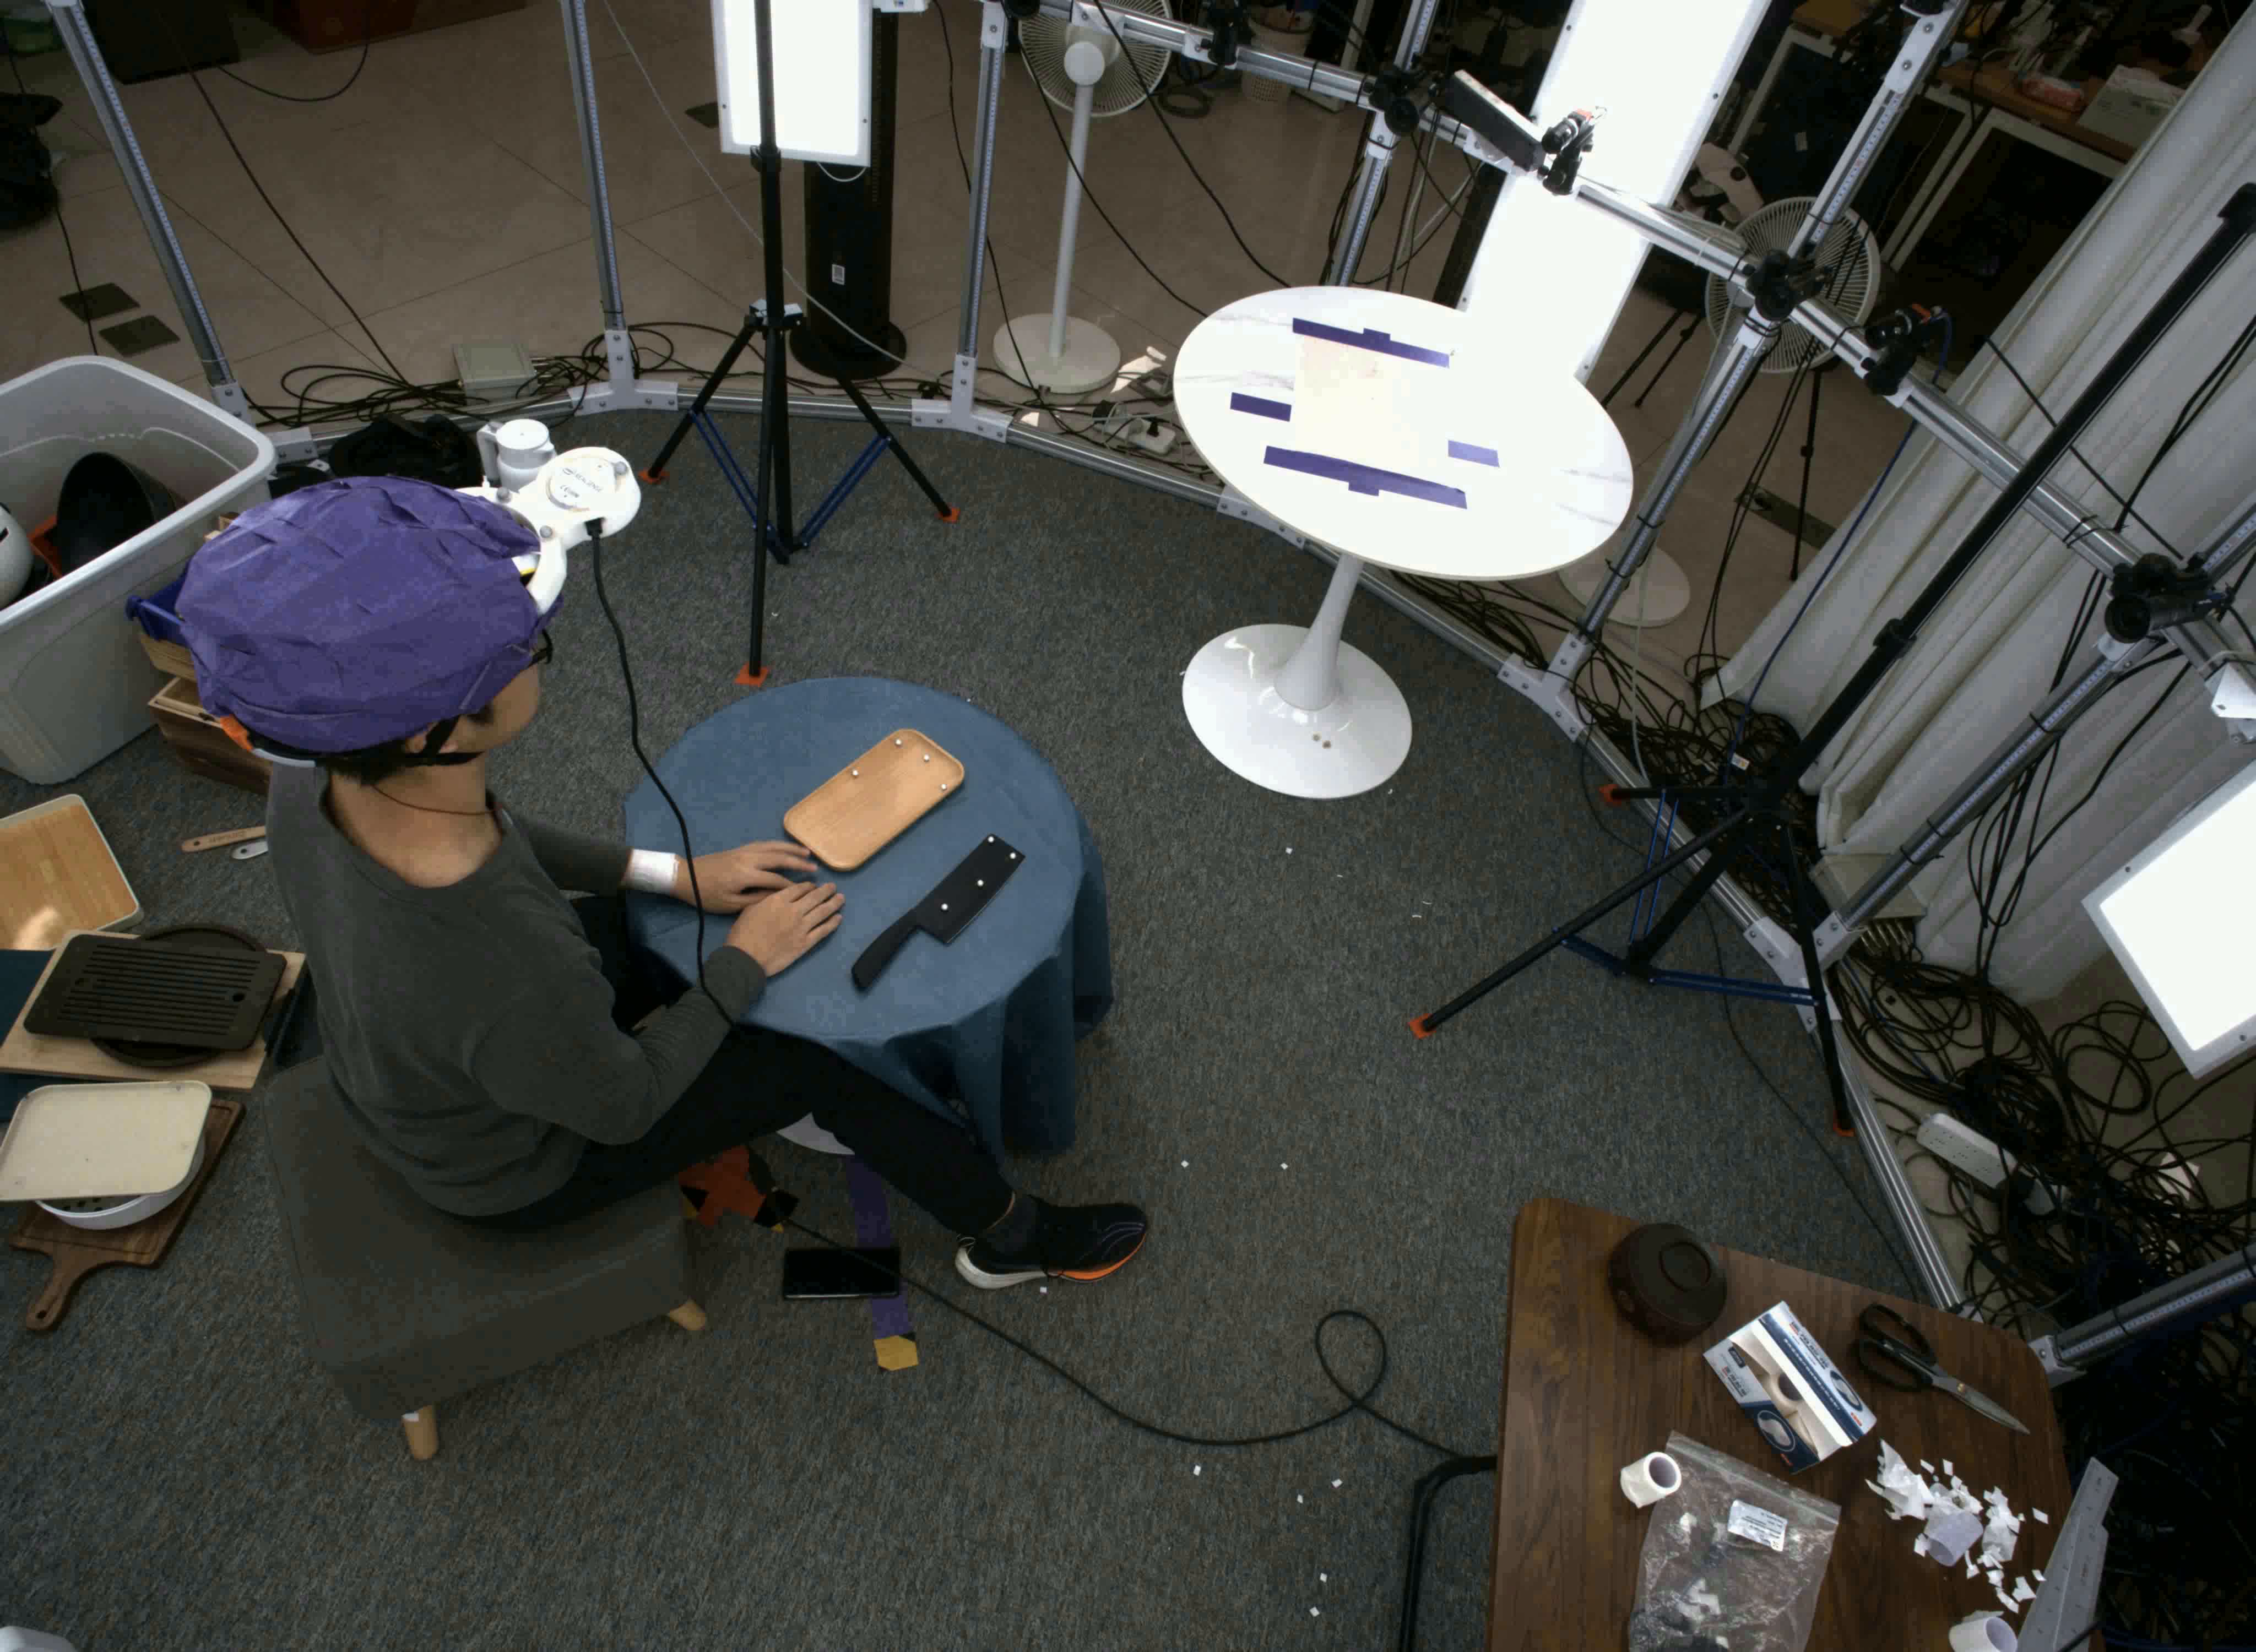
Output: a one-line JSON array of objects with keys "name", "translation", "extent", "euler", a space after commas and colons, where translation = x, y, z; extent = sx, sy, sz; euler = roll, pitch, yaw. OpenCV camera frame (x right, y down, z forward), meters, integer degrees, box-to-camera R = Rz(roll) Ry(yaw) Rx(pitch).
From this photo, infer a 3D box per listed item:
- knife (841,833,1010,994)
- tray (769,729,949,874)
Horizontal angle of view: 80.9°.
[{"name": "knife", "translation": [-0.261, 0.111, 1.686], "extent": [0.079, 0.021, 0.302], "euler": [37, 52, 12]}, {"name": "tray", "translation": [-0.363, -0.036, 1.767], "extent": [0.127, 0.023, 0.250], "euler": [35, 55, 16]}]
